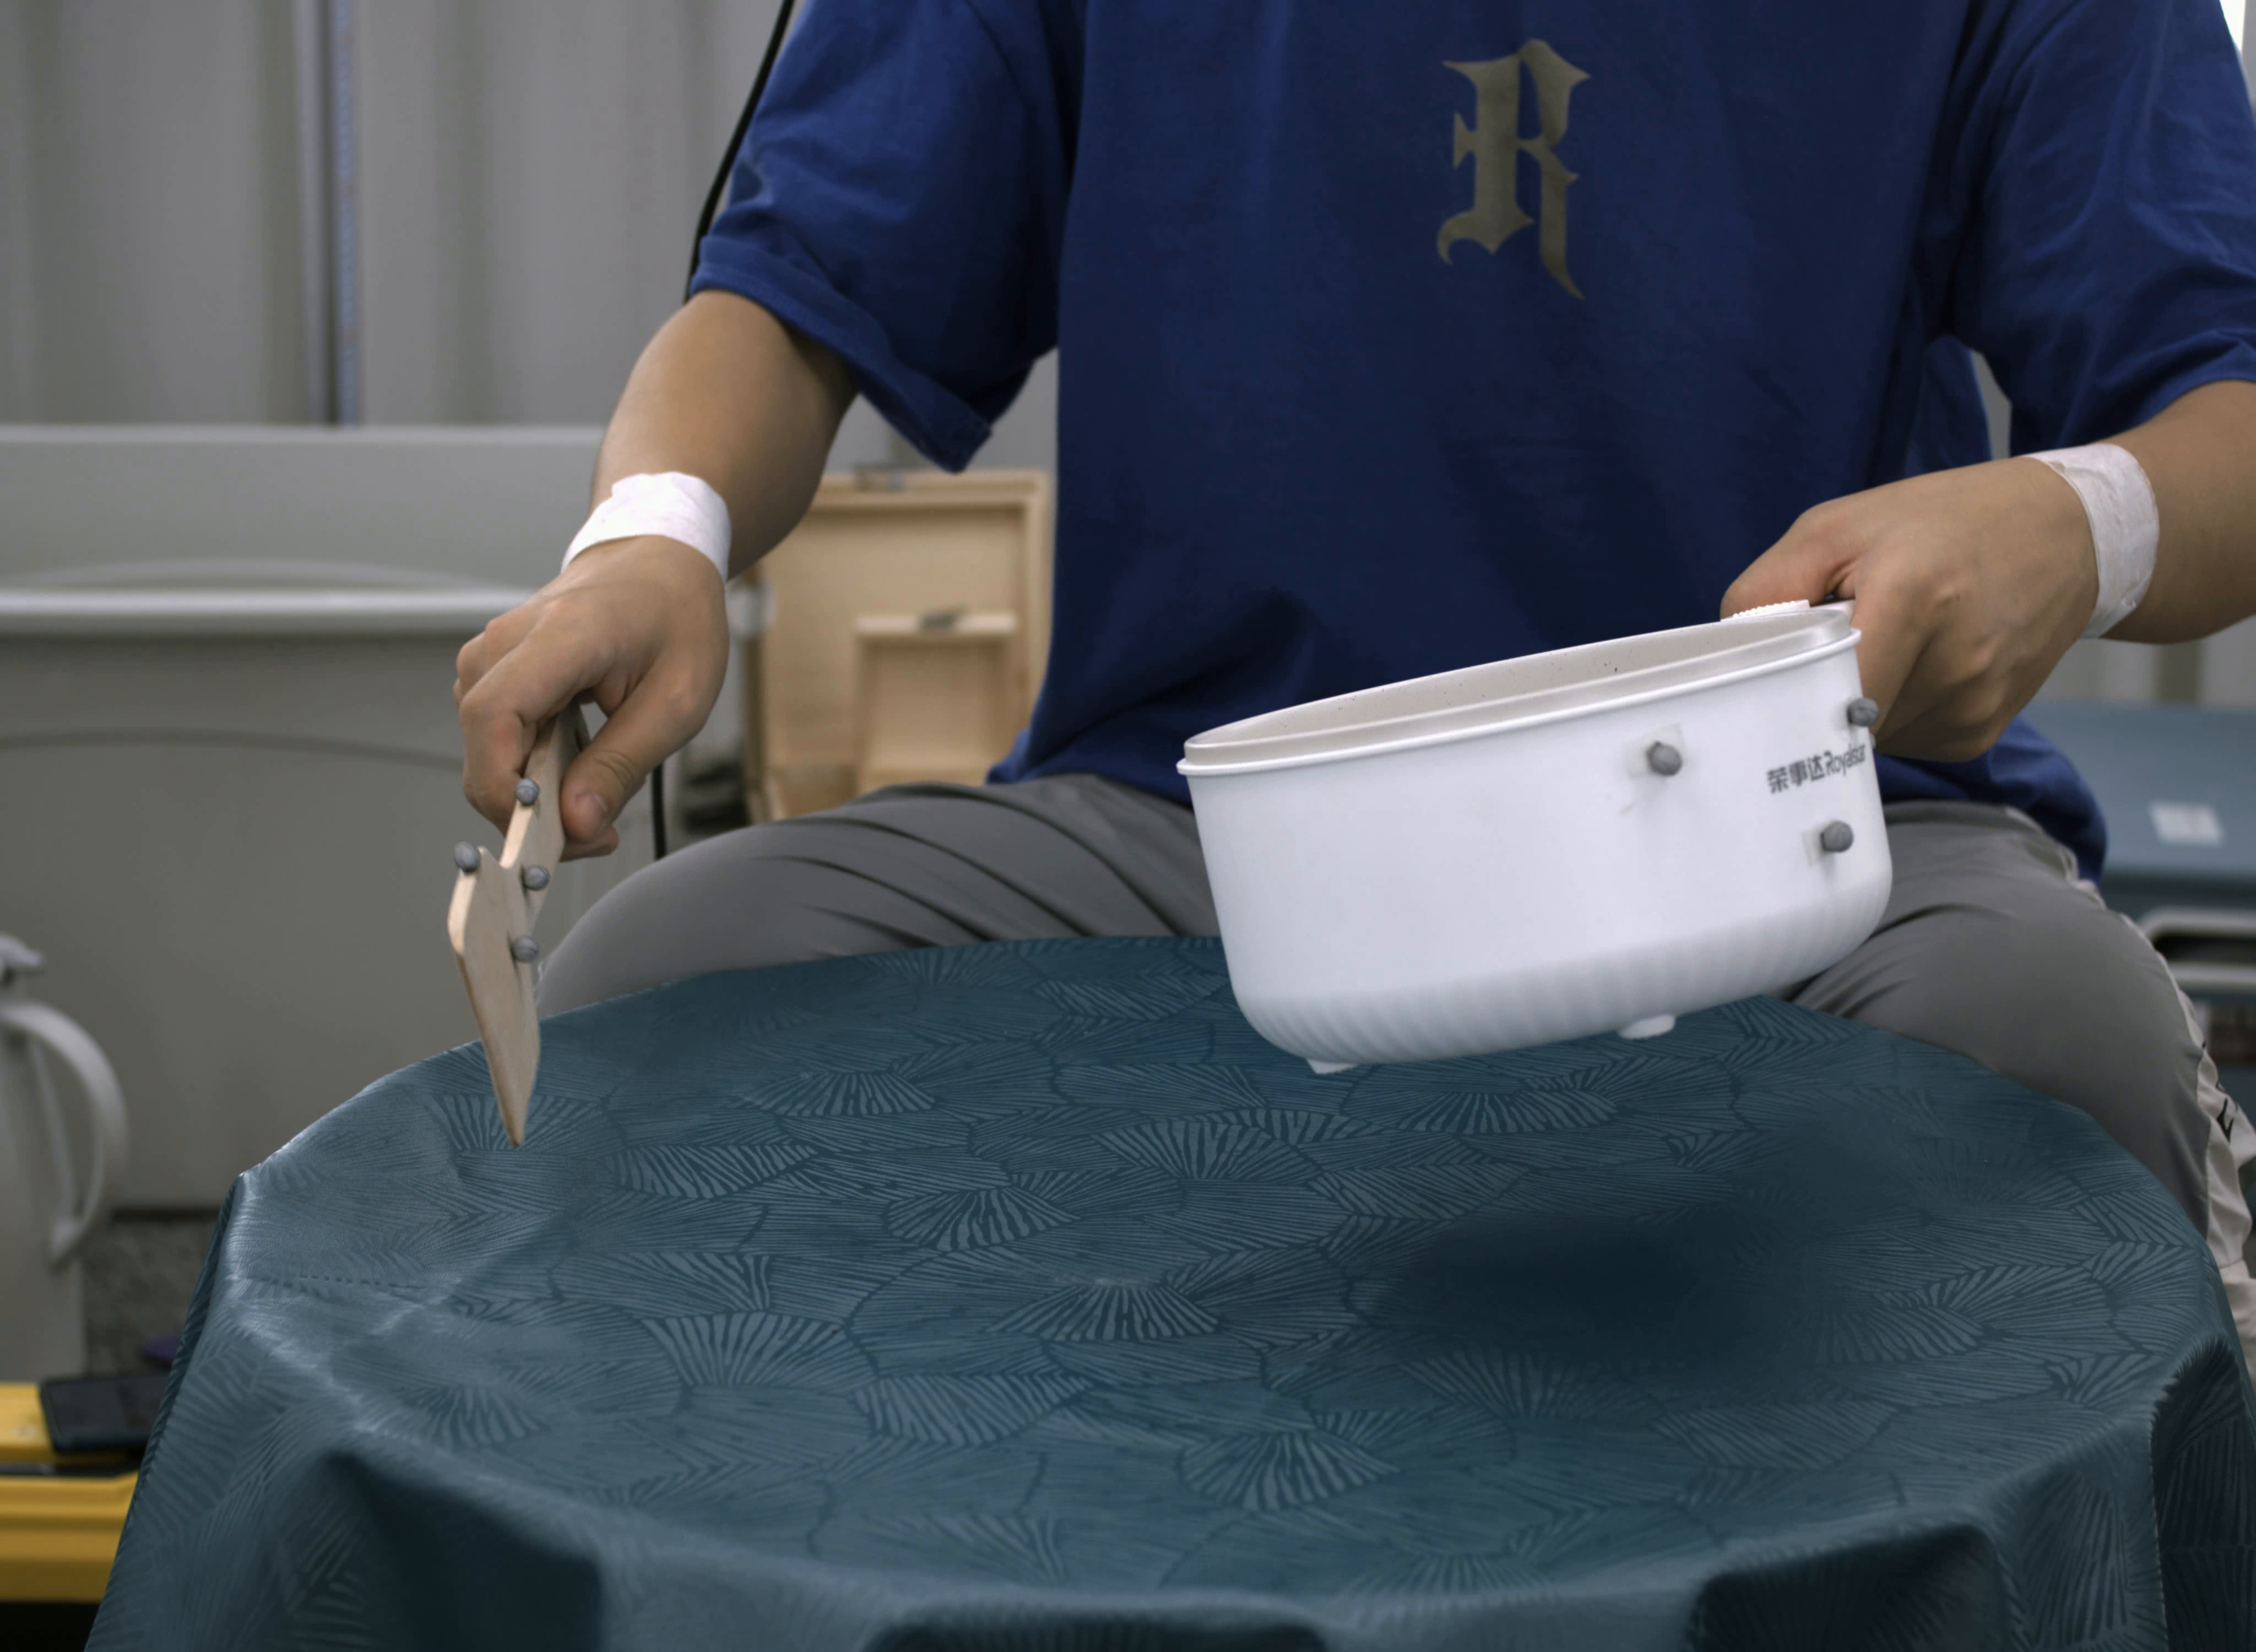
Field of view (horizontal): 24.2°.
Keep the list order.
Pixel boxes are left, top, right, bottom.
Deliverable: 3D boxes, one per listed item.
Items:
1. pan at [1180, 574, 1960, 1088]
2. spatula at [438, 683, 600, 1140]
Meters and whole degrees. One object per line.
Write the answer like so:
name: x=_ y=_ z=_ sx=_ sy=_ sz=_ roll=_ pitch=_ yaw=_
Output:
pan: x=0.163 y=-0.005 z=1.583 sx=0.199 sy=0.102 sz=0.356 roll=-11 pitch=4 yaw=34
spatula: x=-0.193 y=0.012 z=1.695 sx=0.010 sy=0.073 sz=0.291 roll=-12 pitch=21 yaw=6
